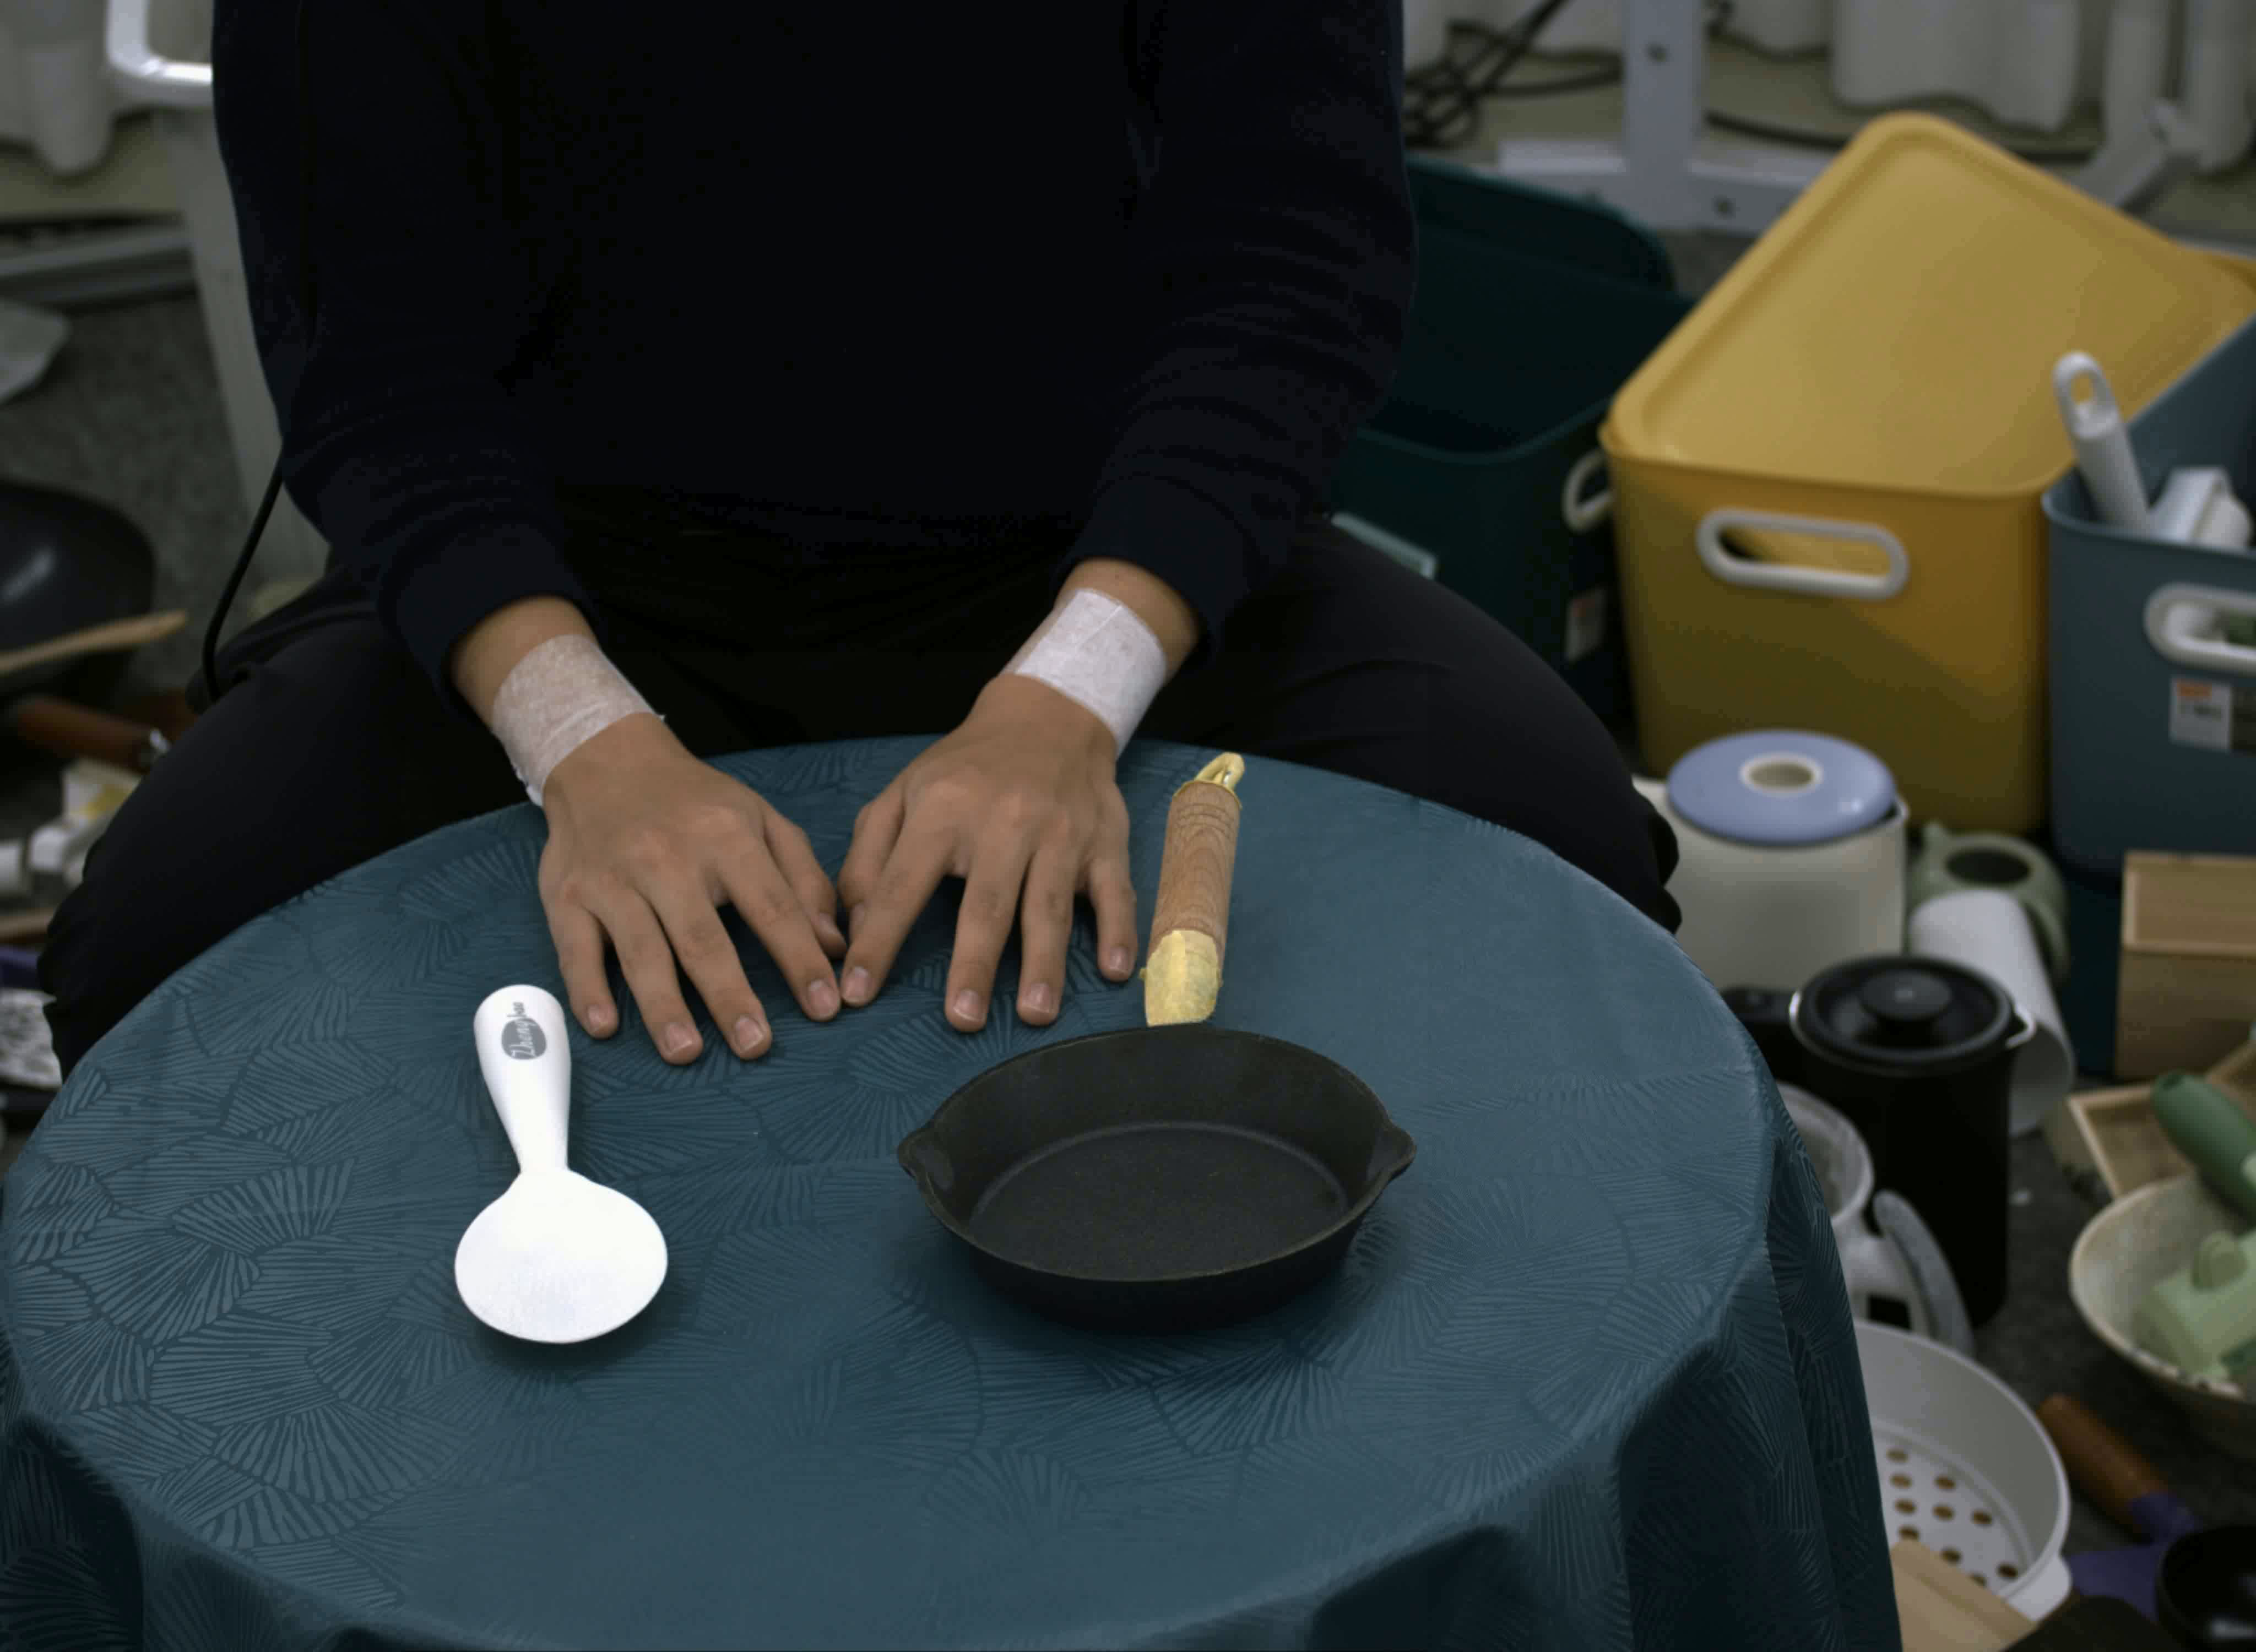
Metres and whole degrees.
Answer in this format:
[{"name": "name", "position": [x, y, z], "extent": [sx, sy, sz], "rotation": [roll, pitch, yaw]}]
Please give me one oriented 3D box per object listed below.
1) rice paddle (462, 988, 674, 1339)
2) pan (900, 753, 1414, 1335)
[{"name": "rice paddle", "position": [-0.193, 0.114, 1.865], "extent": [0.068, 0.029, 0.207], "rotation": [-9, 27, -8]}, {"name": "pan", "position": [0.019, 0.071, 1.904], "extent": [0.168, 0.049, 0.330], "rotation": [0, 29, 7]}]
